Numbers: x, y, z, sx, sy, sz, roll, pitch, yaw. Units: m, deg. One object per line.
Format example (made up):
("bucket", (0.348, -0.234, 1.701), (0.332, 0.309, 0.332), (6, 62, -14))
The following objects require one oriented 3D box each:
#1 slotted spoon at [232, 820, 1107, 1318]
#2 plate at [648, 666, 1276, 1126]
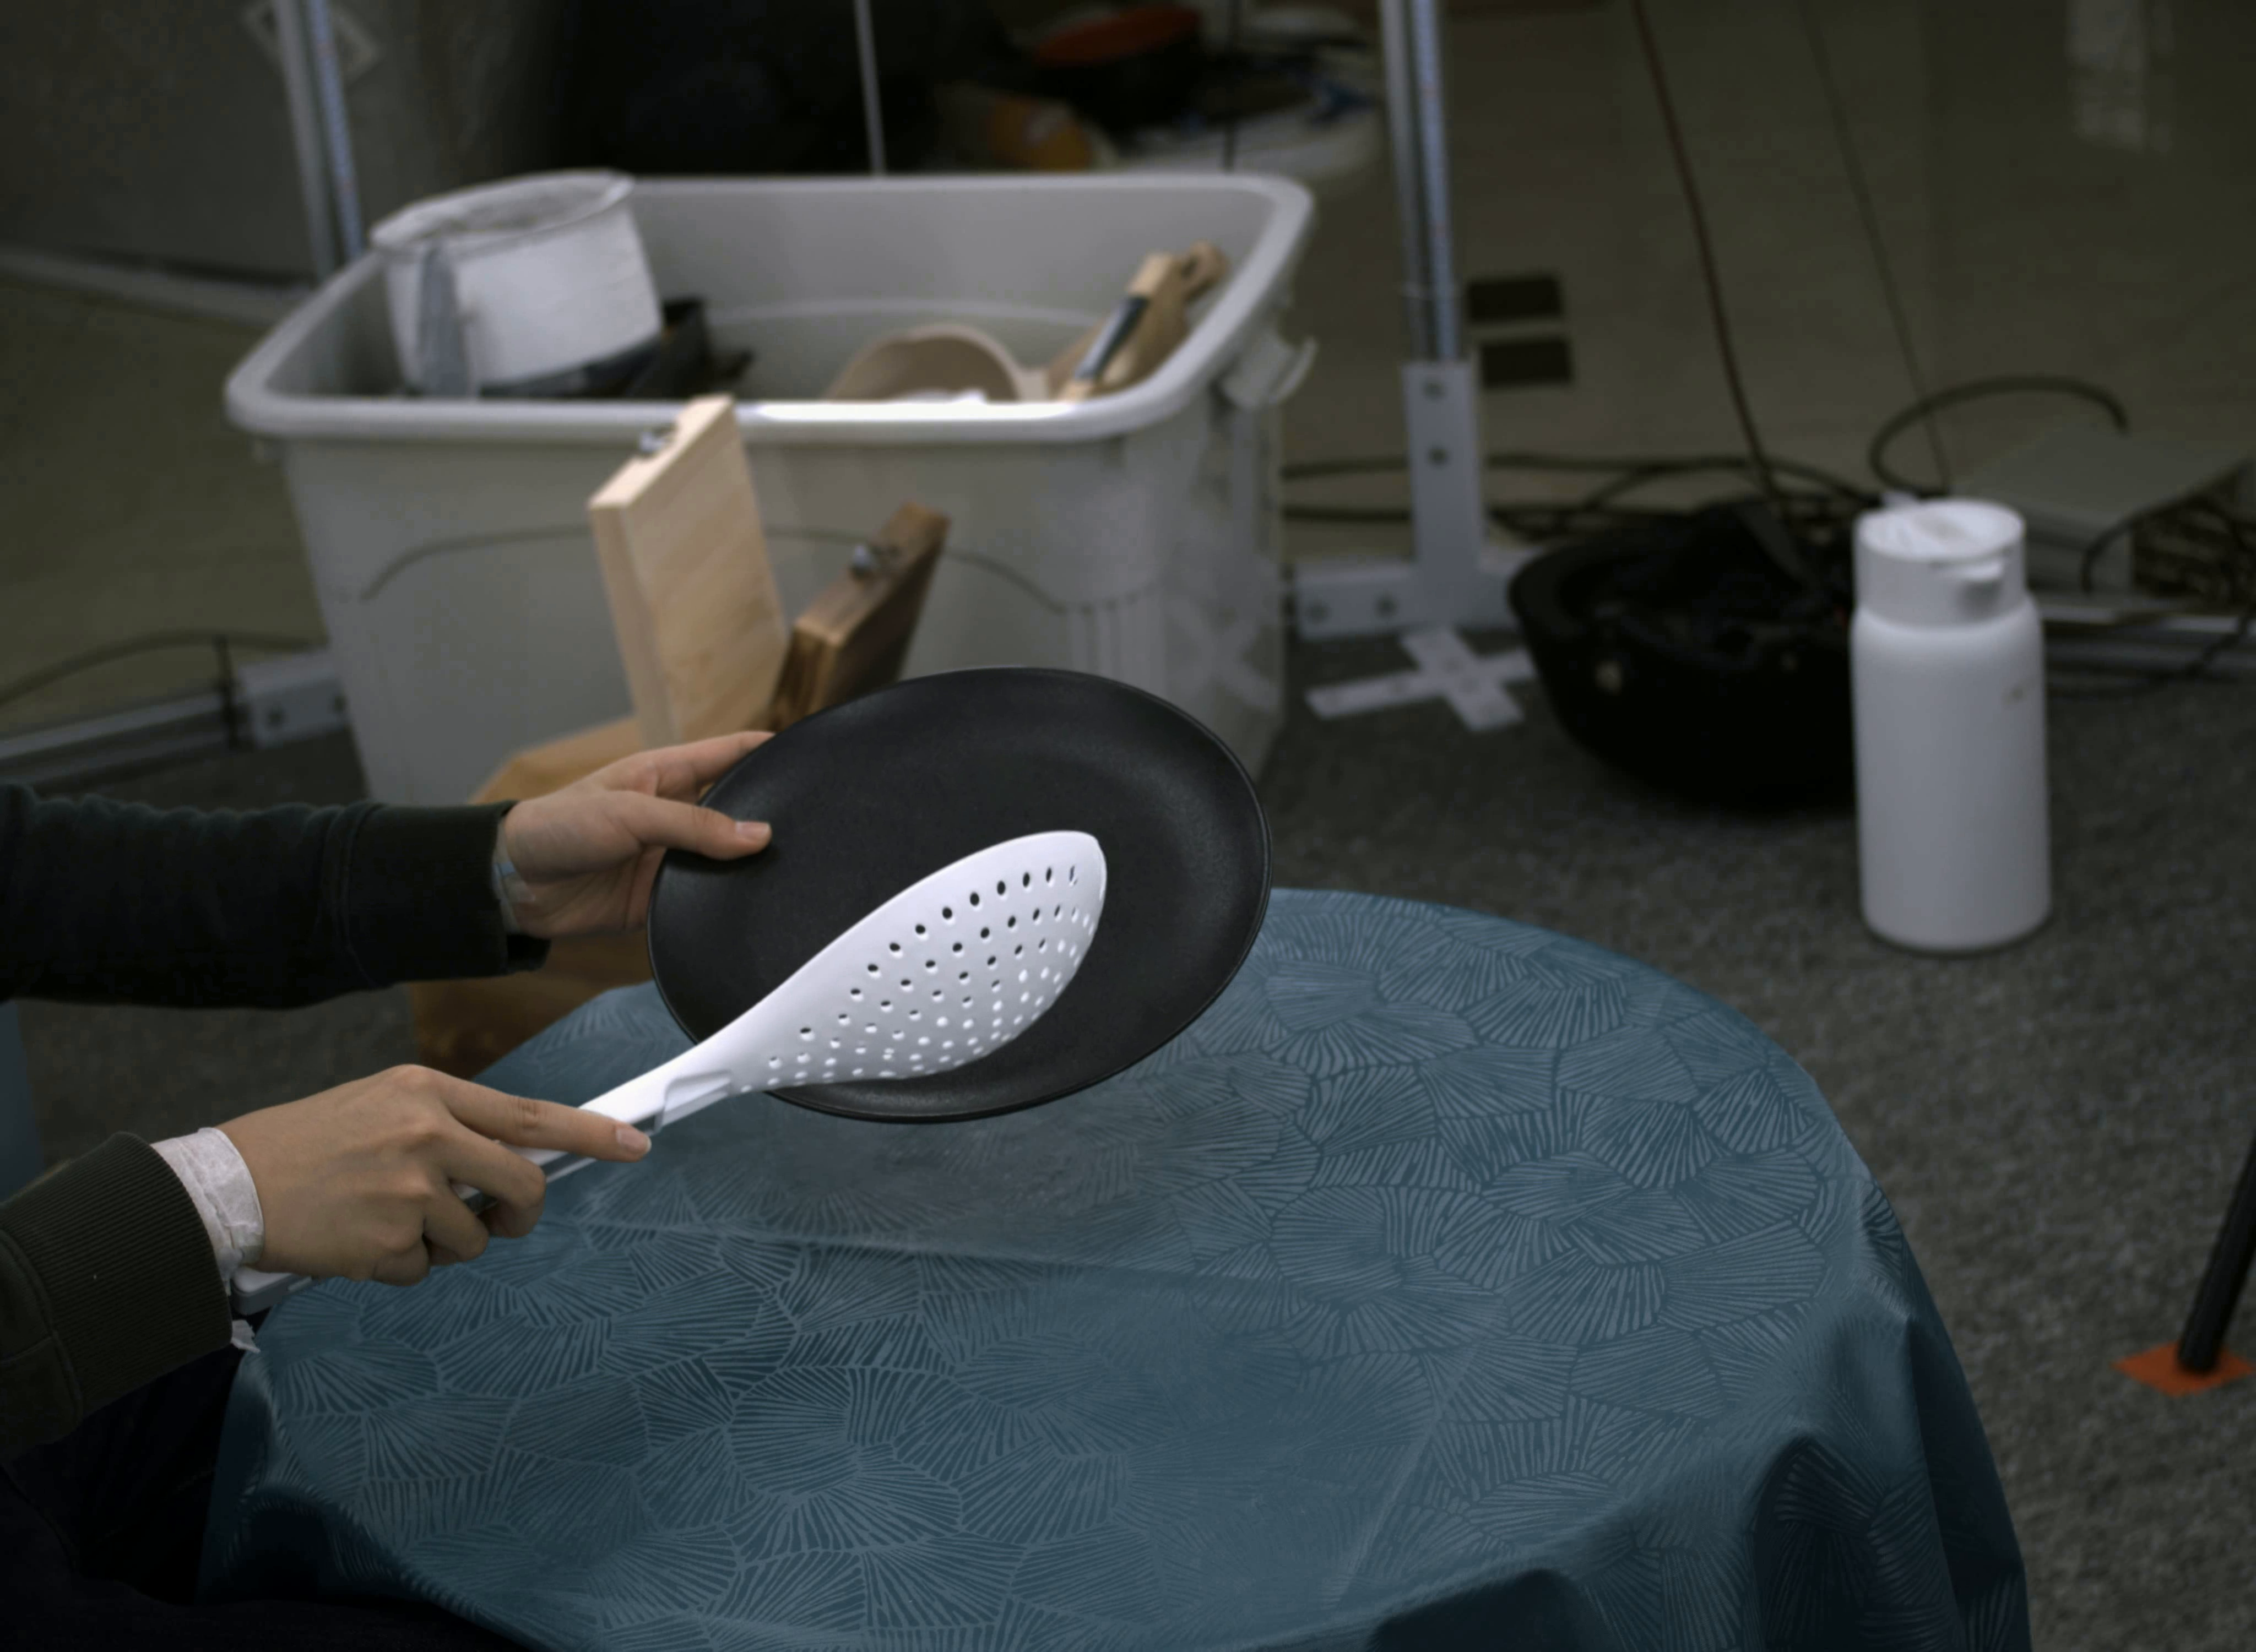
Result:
("slotted spoon", (-0.156, 0.090, 2.000), (0.348, 0.138, 0.045), (-21, 66, -16))
("plate", (-0.063, 0.030, 2.175), (0.244, 0.024, 0.240), (-5, 46, 6))
